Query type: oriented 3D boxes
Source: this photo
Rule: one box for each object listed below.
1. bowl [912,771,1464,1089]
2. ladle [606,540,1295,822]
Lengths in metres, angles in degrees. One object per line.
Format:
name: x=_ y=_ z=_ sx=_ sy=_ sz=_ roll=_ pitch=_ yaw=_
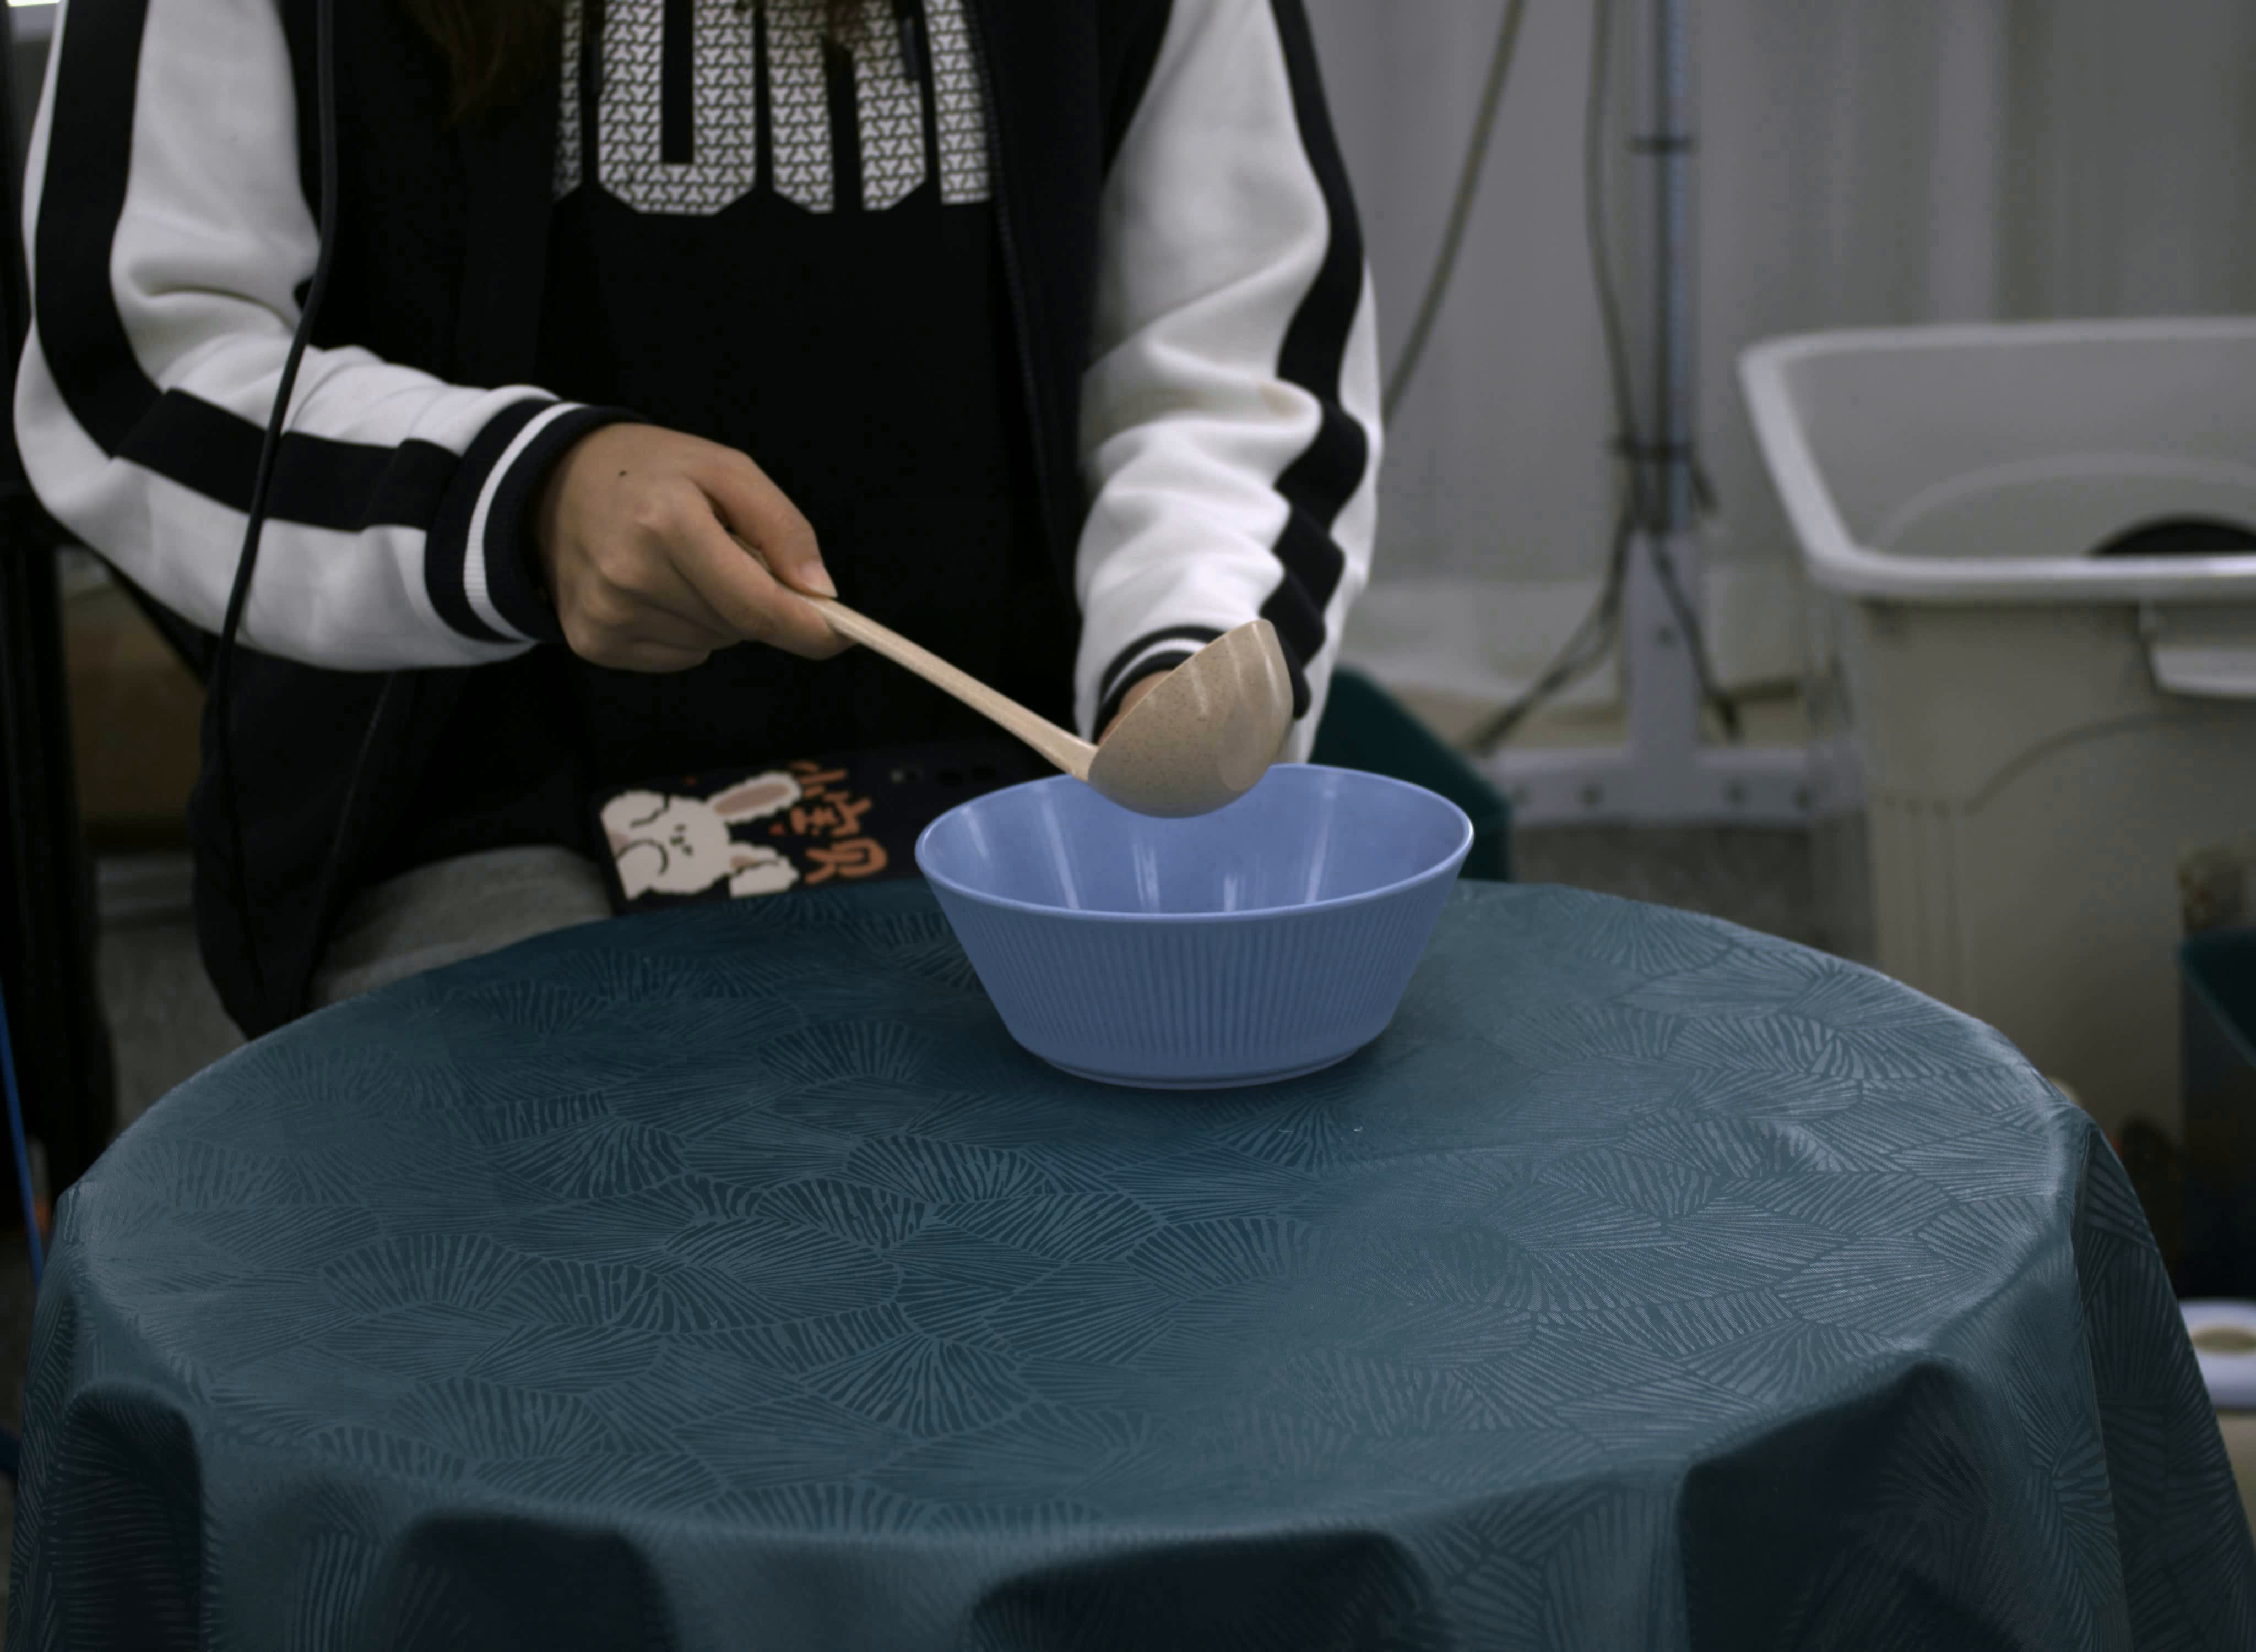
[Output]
bowl: x=0.019 y=0.035 z=1.686 sx=0.175 sy=0.070 sz=0.177 roll=-2 pitch=16 yaw=-1
ladle: x=-0.061 y=-0.074 z=1.698 sx=0.259 sy=0.073 sz=0.070 roll=26 pitch=27 yaw=28
